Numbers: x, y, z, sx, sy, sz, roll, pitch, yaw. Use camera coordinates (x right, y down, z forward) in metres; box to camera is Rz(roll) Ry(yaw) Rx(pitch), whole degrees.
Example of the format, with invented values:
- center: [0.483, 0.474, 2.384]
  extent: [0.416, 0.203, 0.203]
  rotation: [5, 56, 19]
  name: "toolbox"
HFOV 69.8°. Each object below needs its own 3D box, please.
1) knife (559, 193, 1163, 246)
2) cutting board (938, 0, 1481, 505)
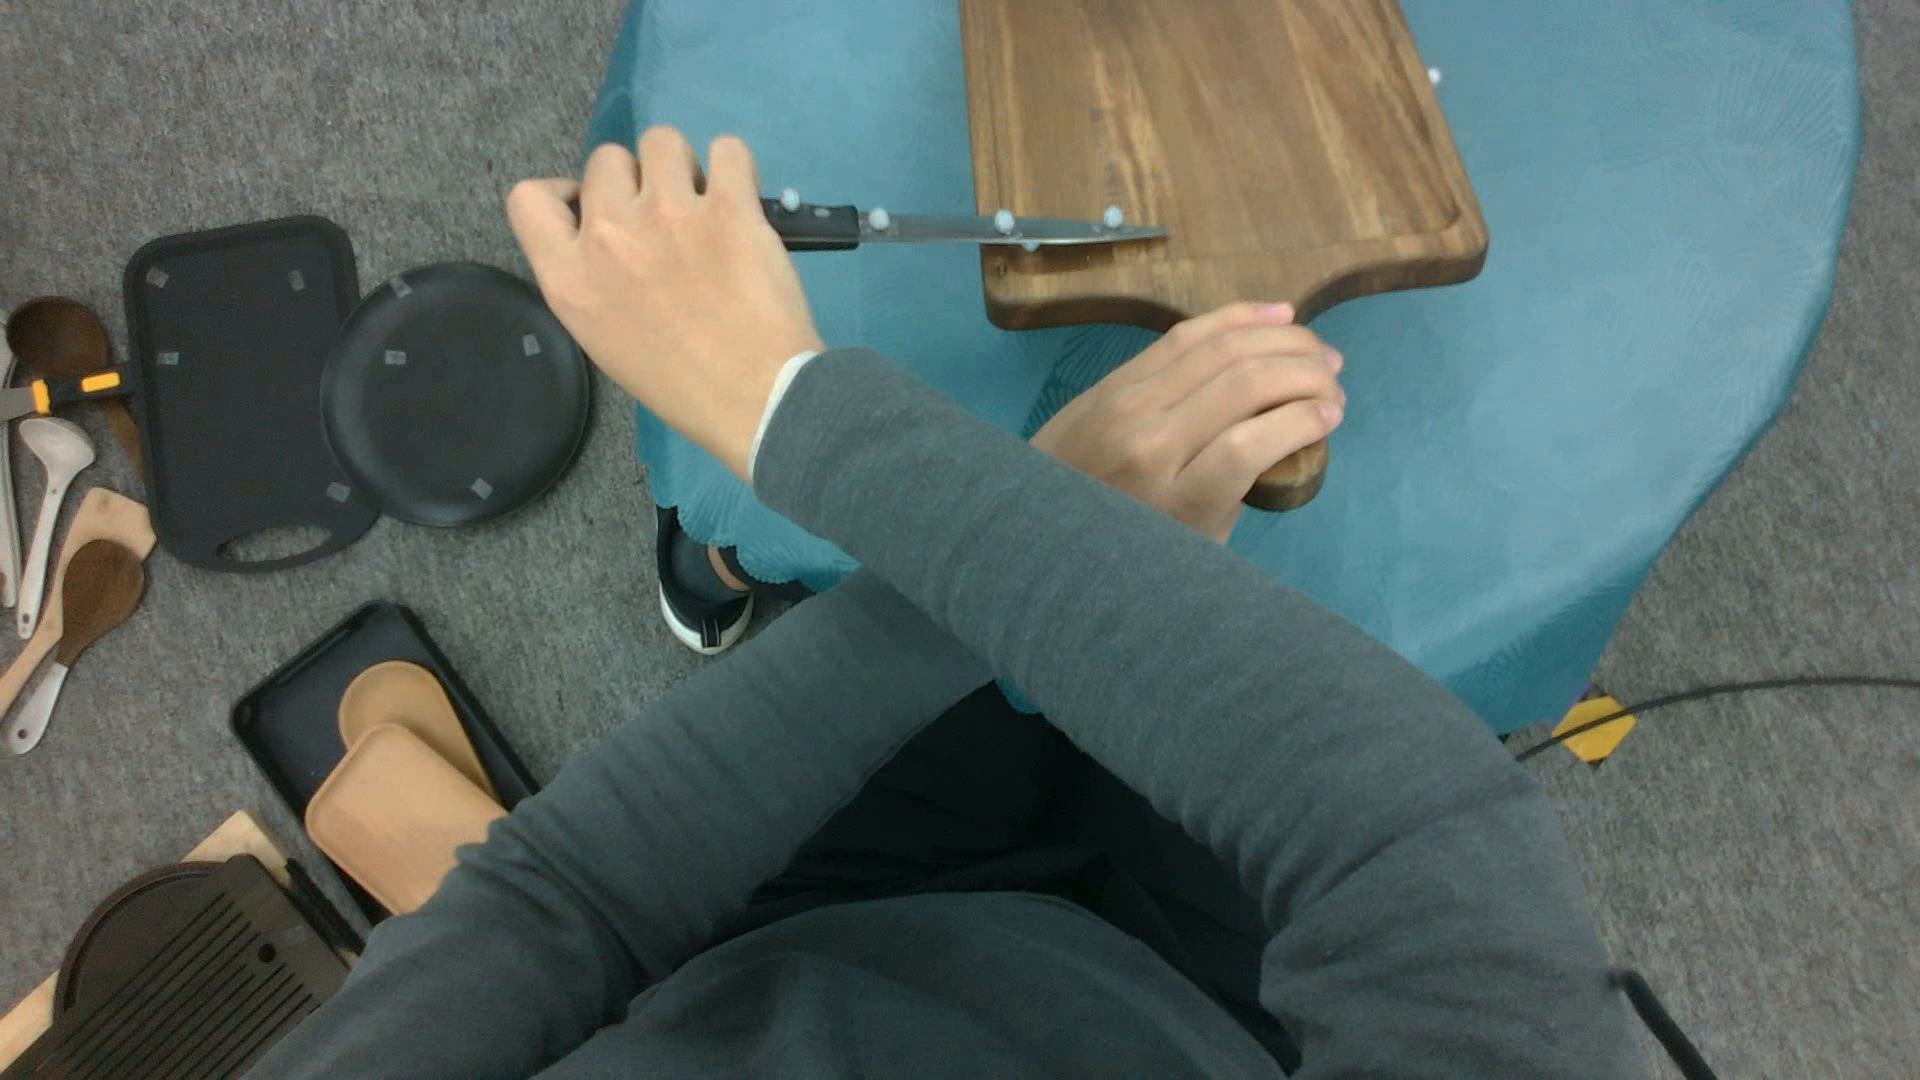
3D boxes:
- center: [-0.036, -0.126, 0.540]
  extent: [0.238, 0.016, 0.024]
  rotation: [-2, 44, -6]
  name: "knife"
- center: [0.099, -0.161, 0.580]
  extent: [0.201, 0.023, 0.353]
  rotation: [-6, 55, 1]
  name: "cutting board"
